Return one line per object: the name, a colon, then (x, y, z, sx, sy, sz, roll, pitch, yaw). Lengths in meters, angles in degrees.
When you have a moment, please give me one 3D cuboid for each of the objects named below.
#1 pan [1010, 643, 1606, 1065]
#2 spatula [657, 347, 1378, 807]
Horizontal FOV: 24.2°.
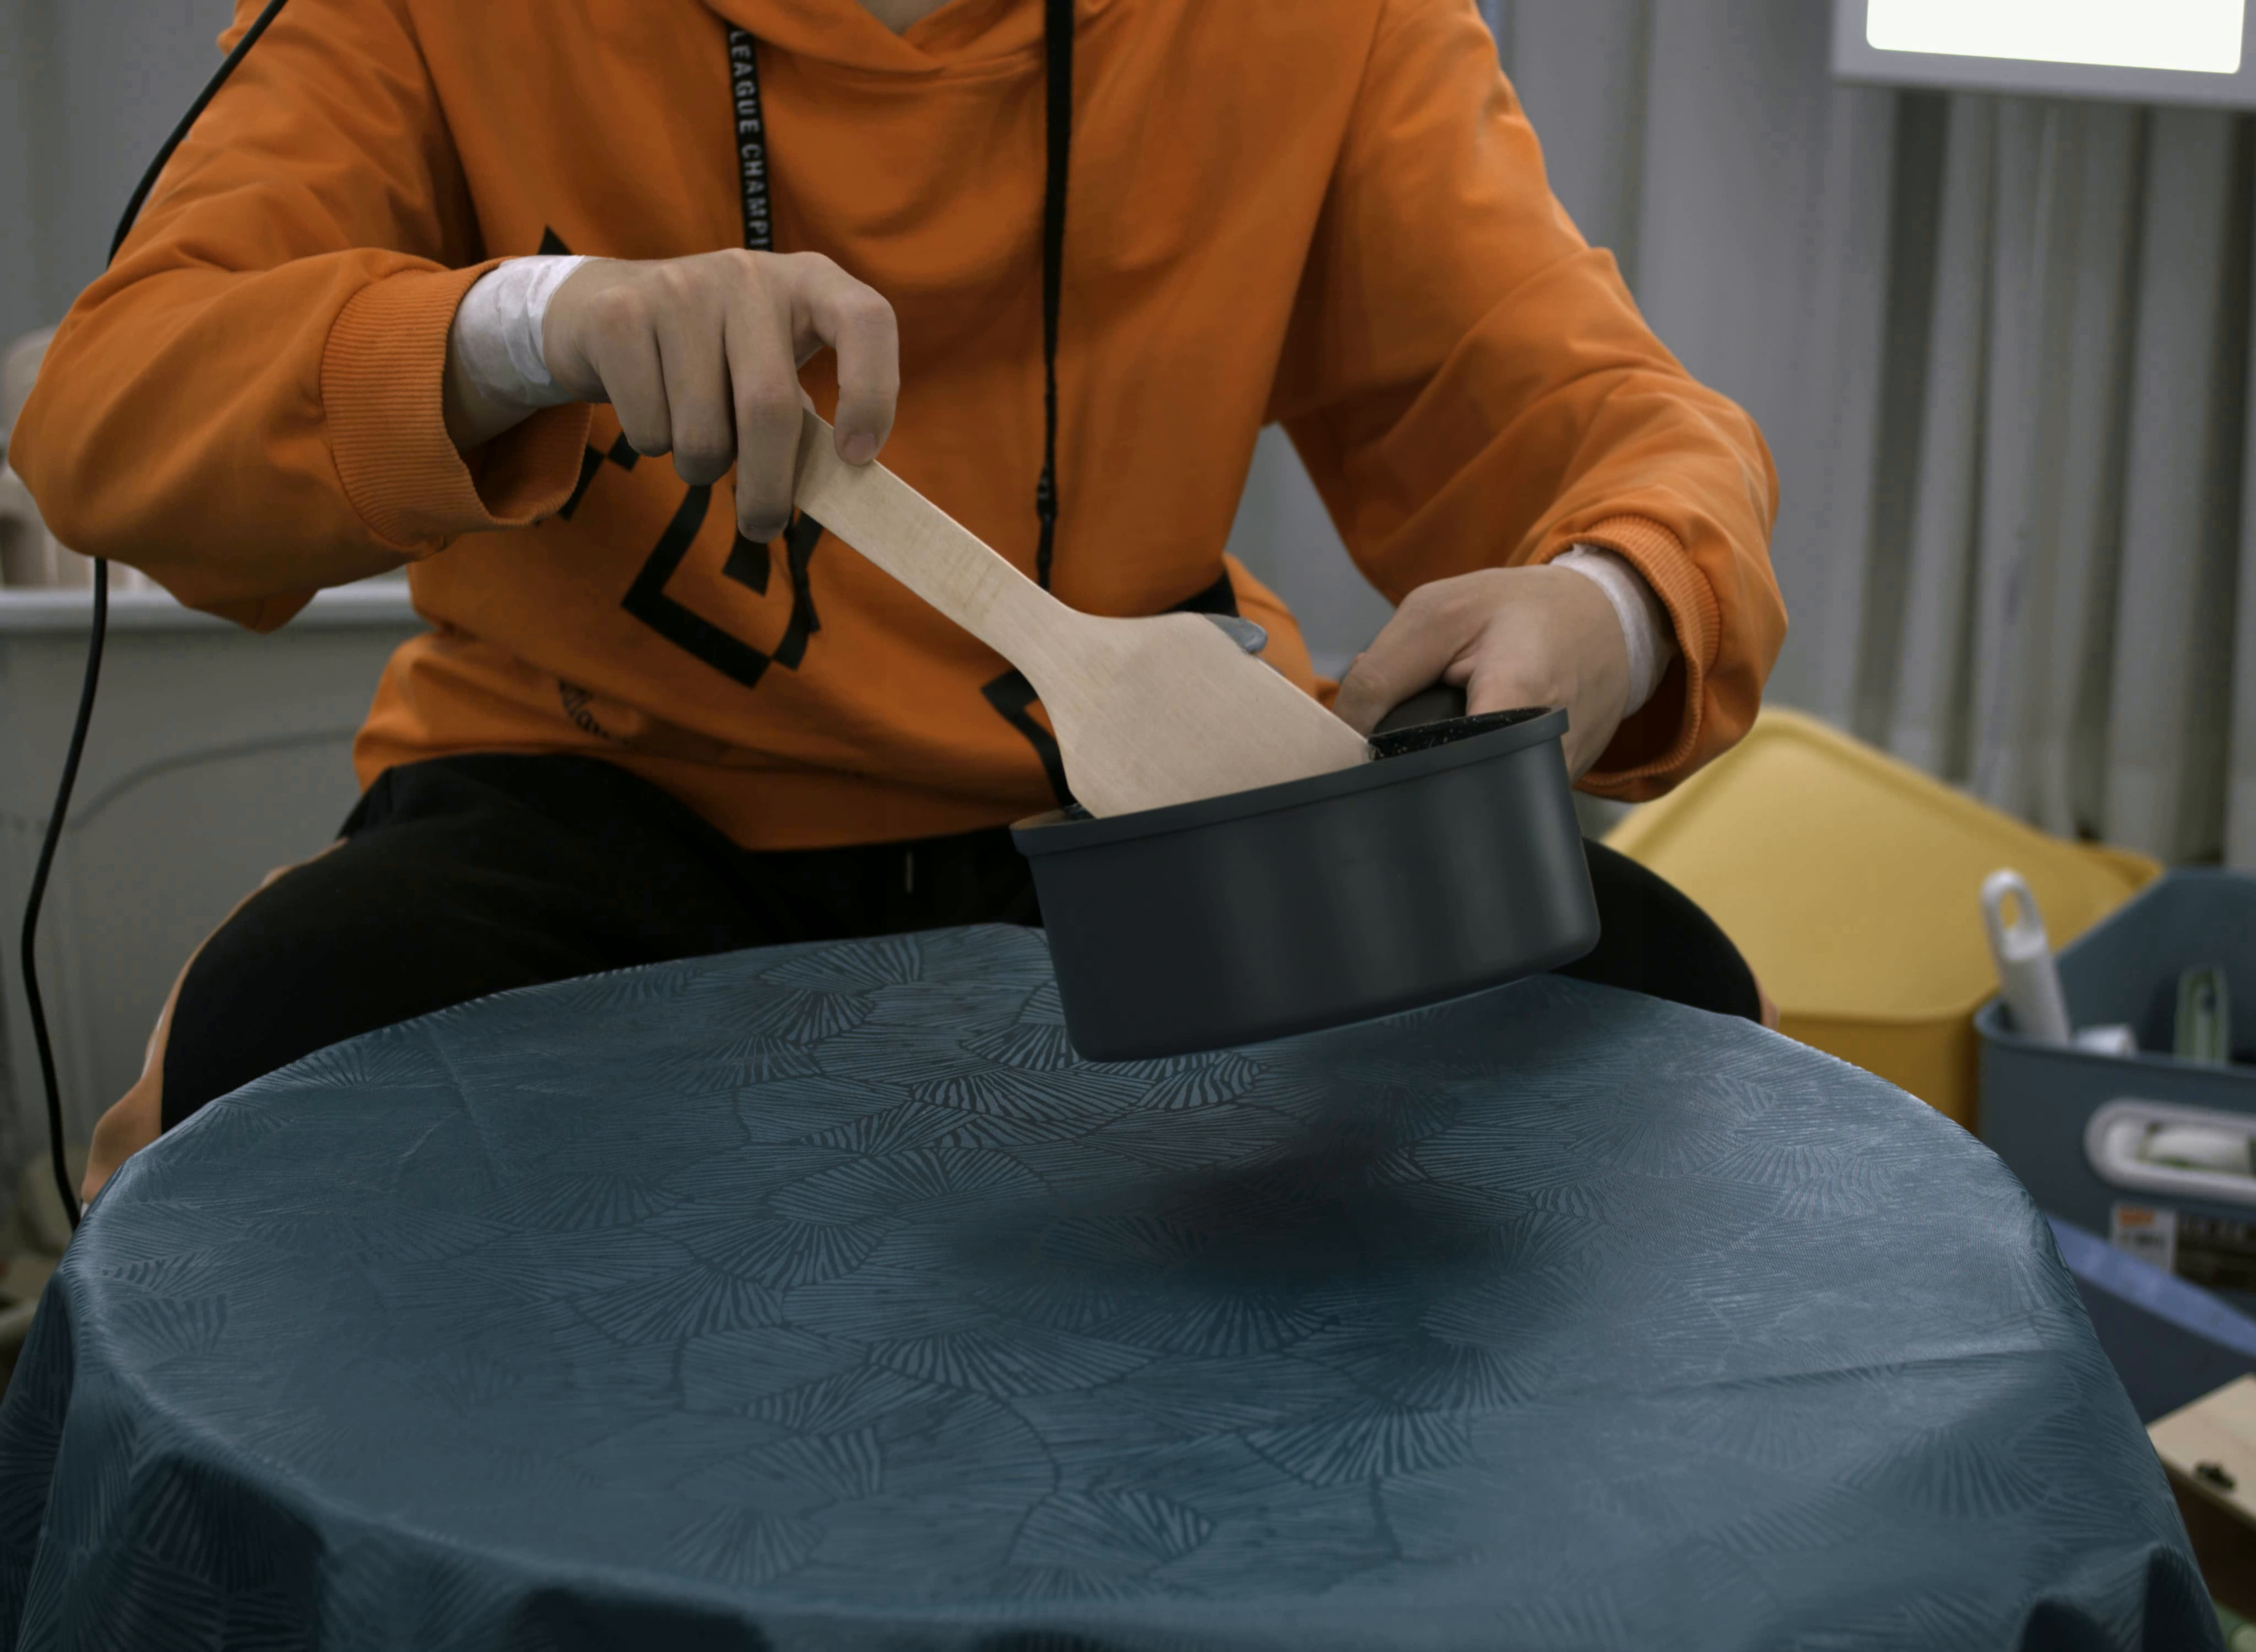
pan: (0.080, 0.004, 1.650, 0.171, 0.087, 0.329, -10, 5, 20)
spatula: (-0.043, -0.069, 1.629, 0.289, 0.072, 0.011, 37, 10, 26)
